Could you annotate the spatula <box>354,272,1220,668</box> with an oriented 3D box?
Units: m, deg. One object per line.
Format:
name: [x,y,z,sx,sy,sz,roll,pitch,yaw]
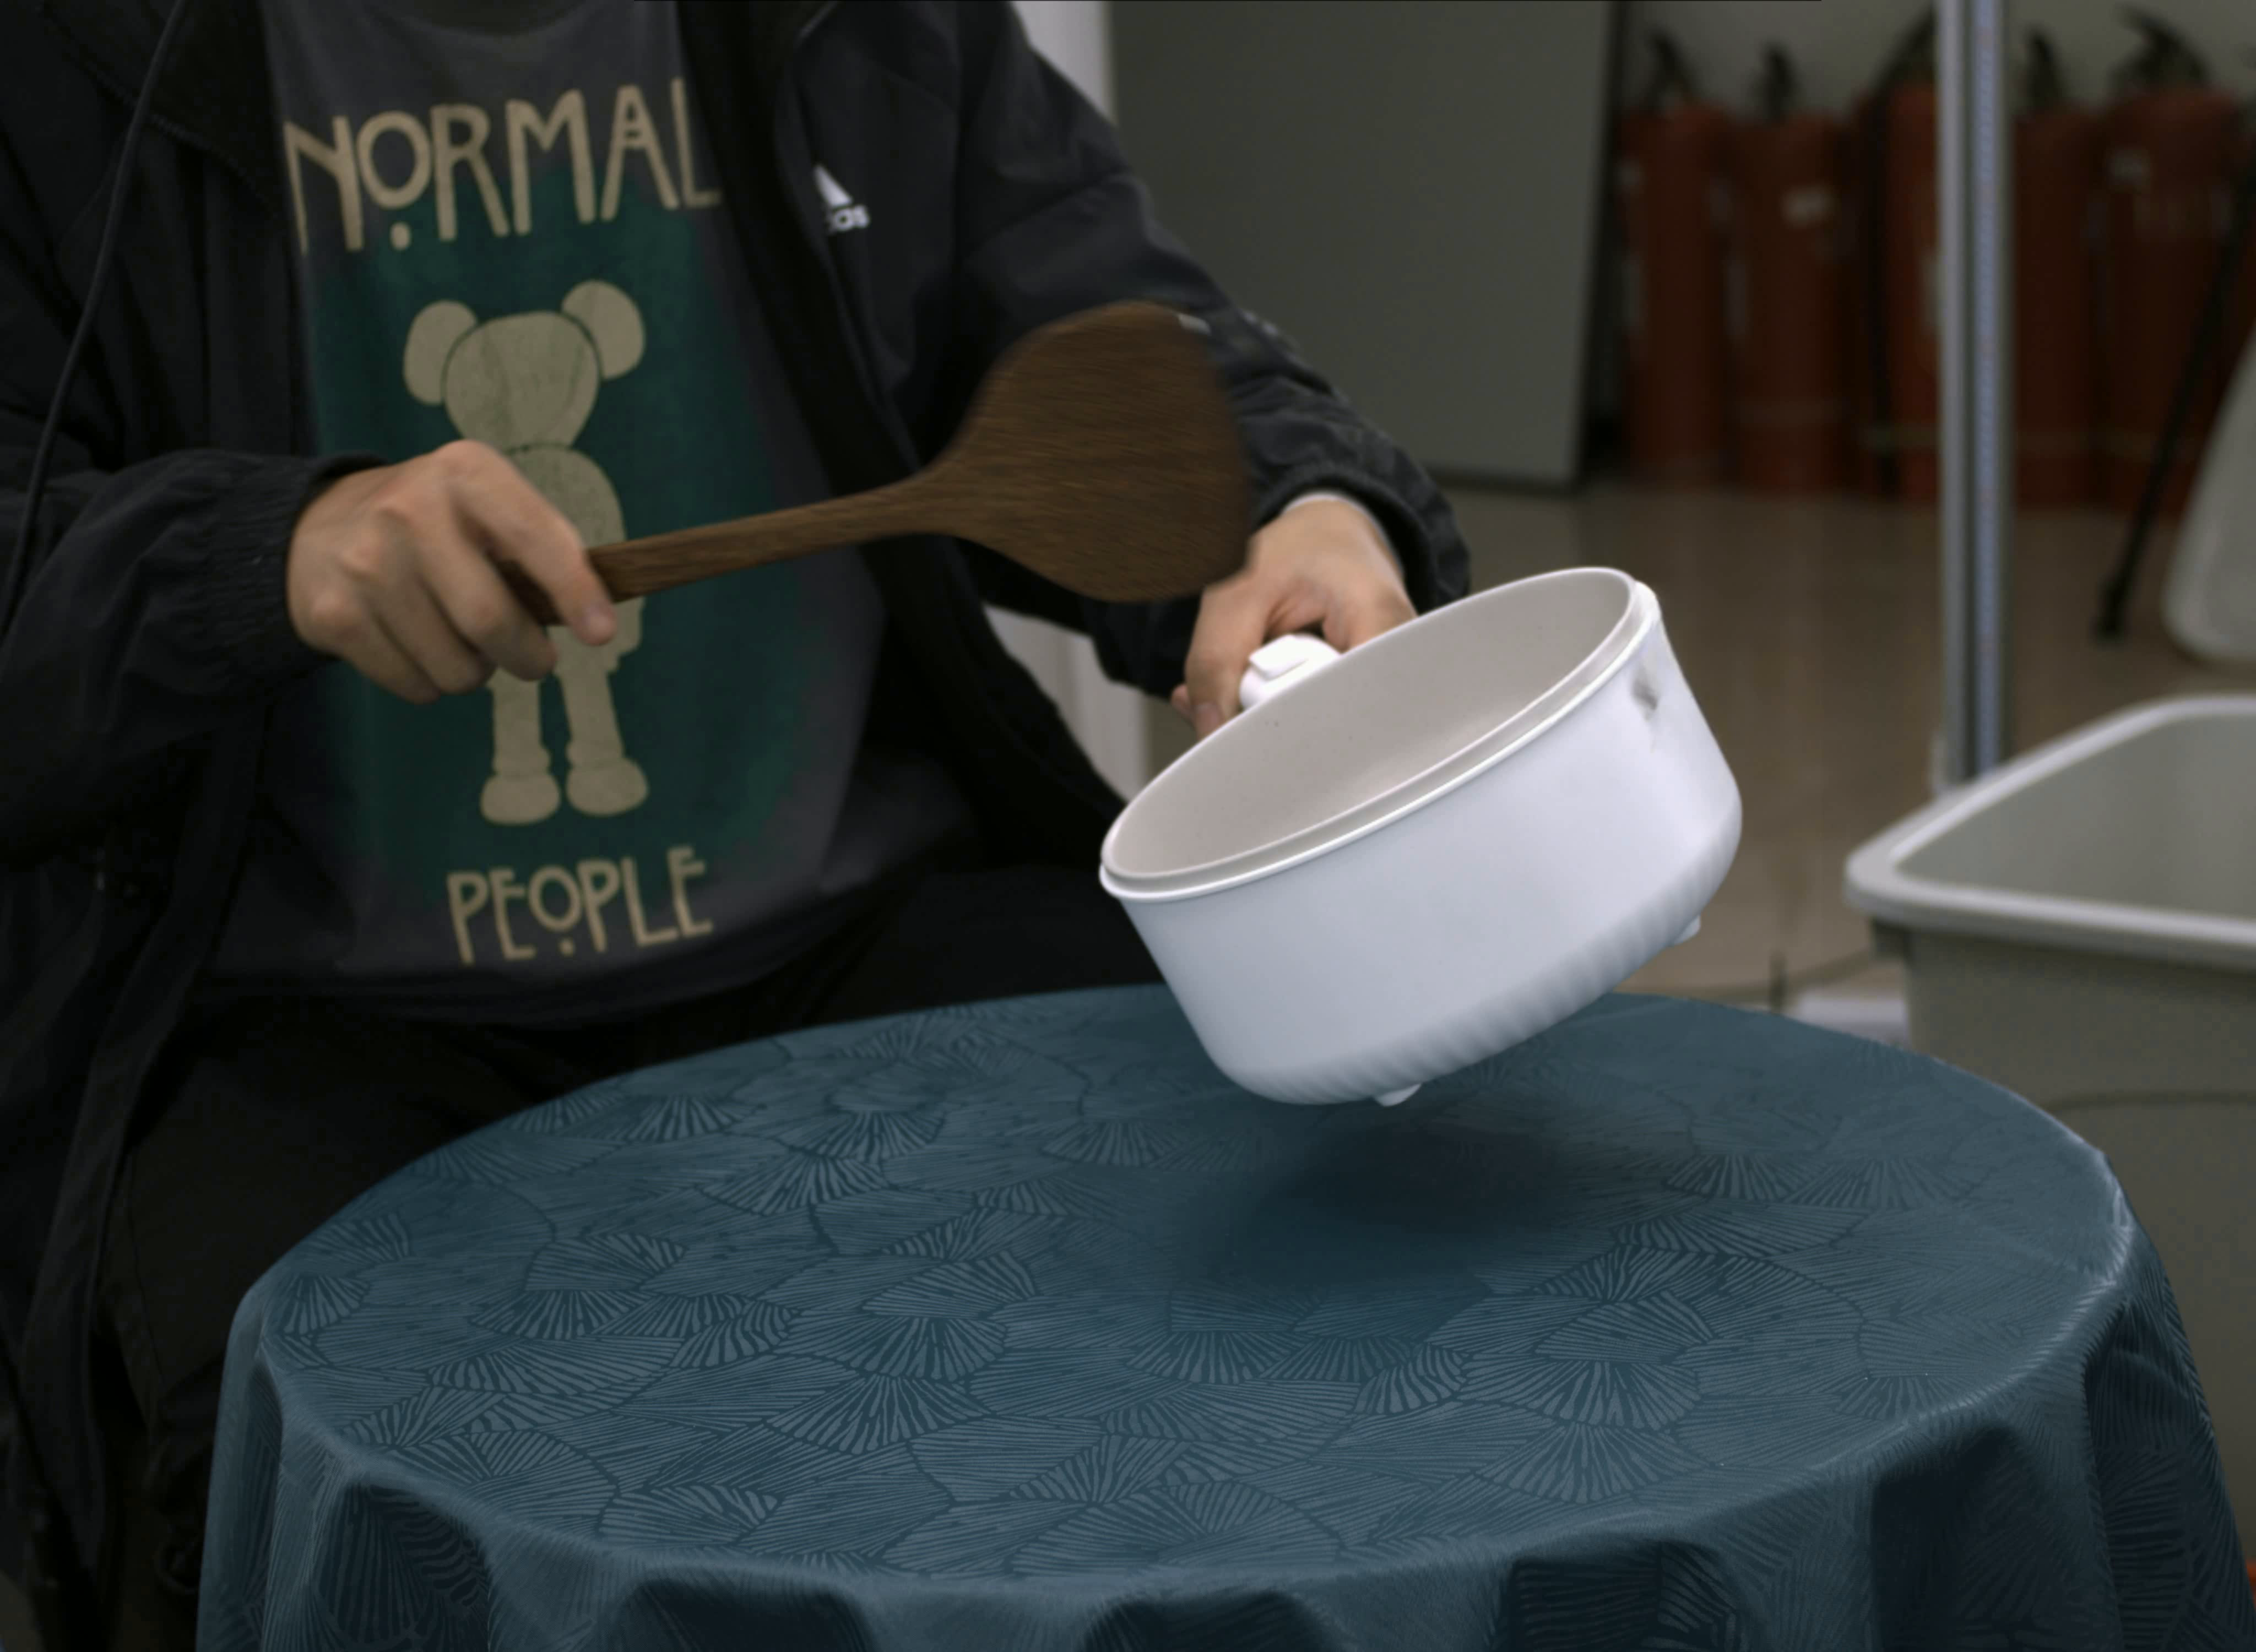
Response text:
spatula: [-0.124,-0.097,1.780,0.389,0.097,0.015,-12,12,41]

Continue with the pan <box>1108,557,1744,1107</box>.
pan: [0.090,-0.004,1.814,0.200,0.102,0.356,-31,11,-3]
